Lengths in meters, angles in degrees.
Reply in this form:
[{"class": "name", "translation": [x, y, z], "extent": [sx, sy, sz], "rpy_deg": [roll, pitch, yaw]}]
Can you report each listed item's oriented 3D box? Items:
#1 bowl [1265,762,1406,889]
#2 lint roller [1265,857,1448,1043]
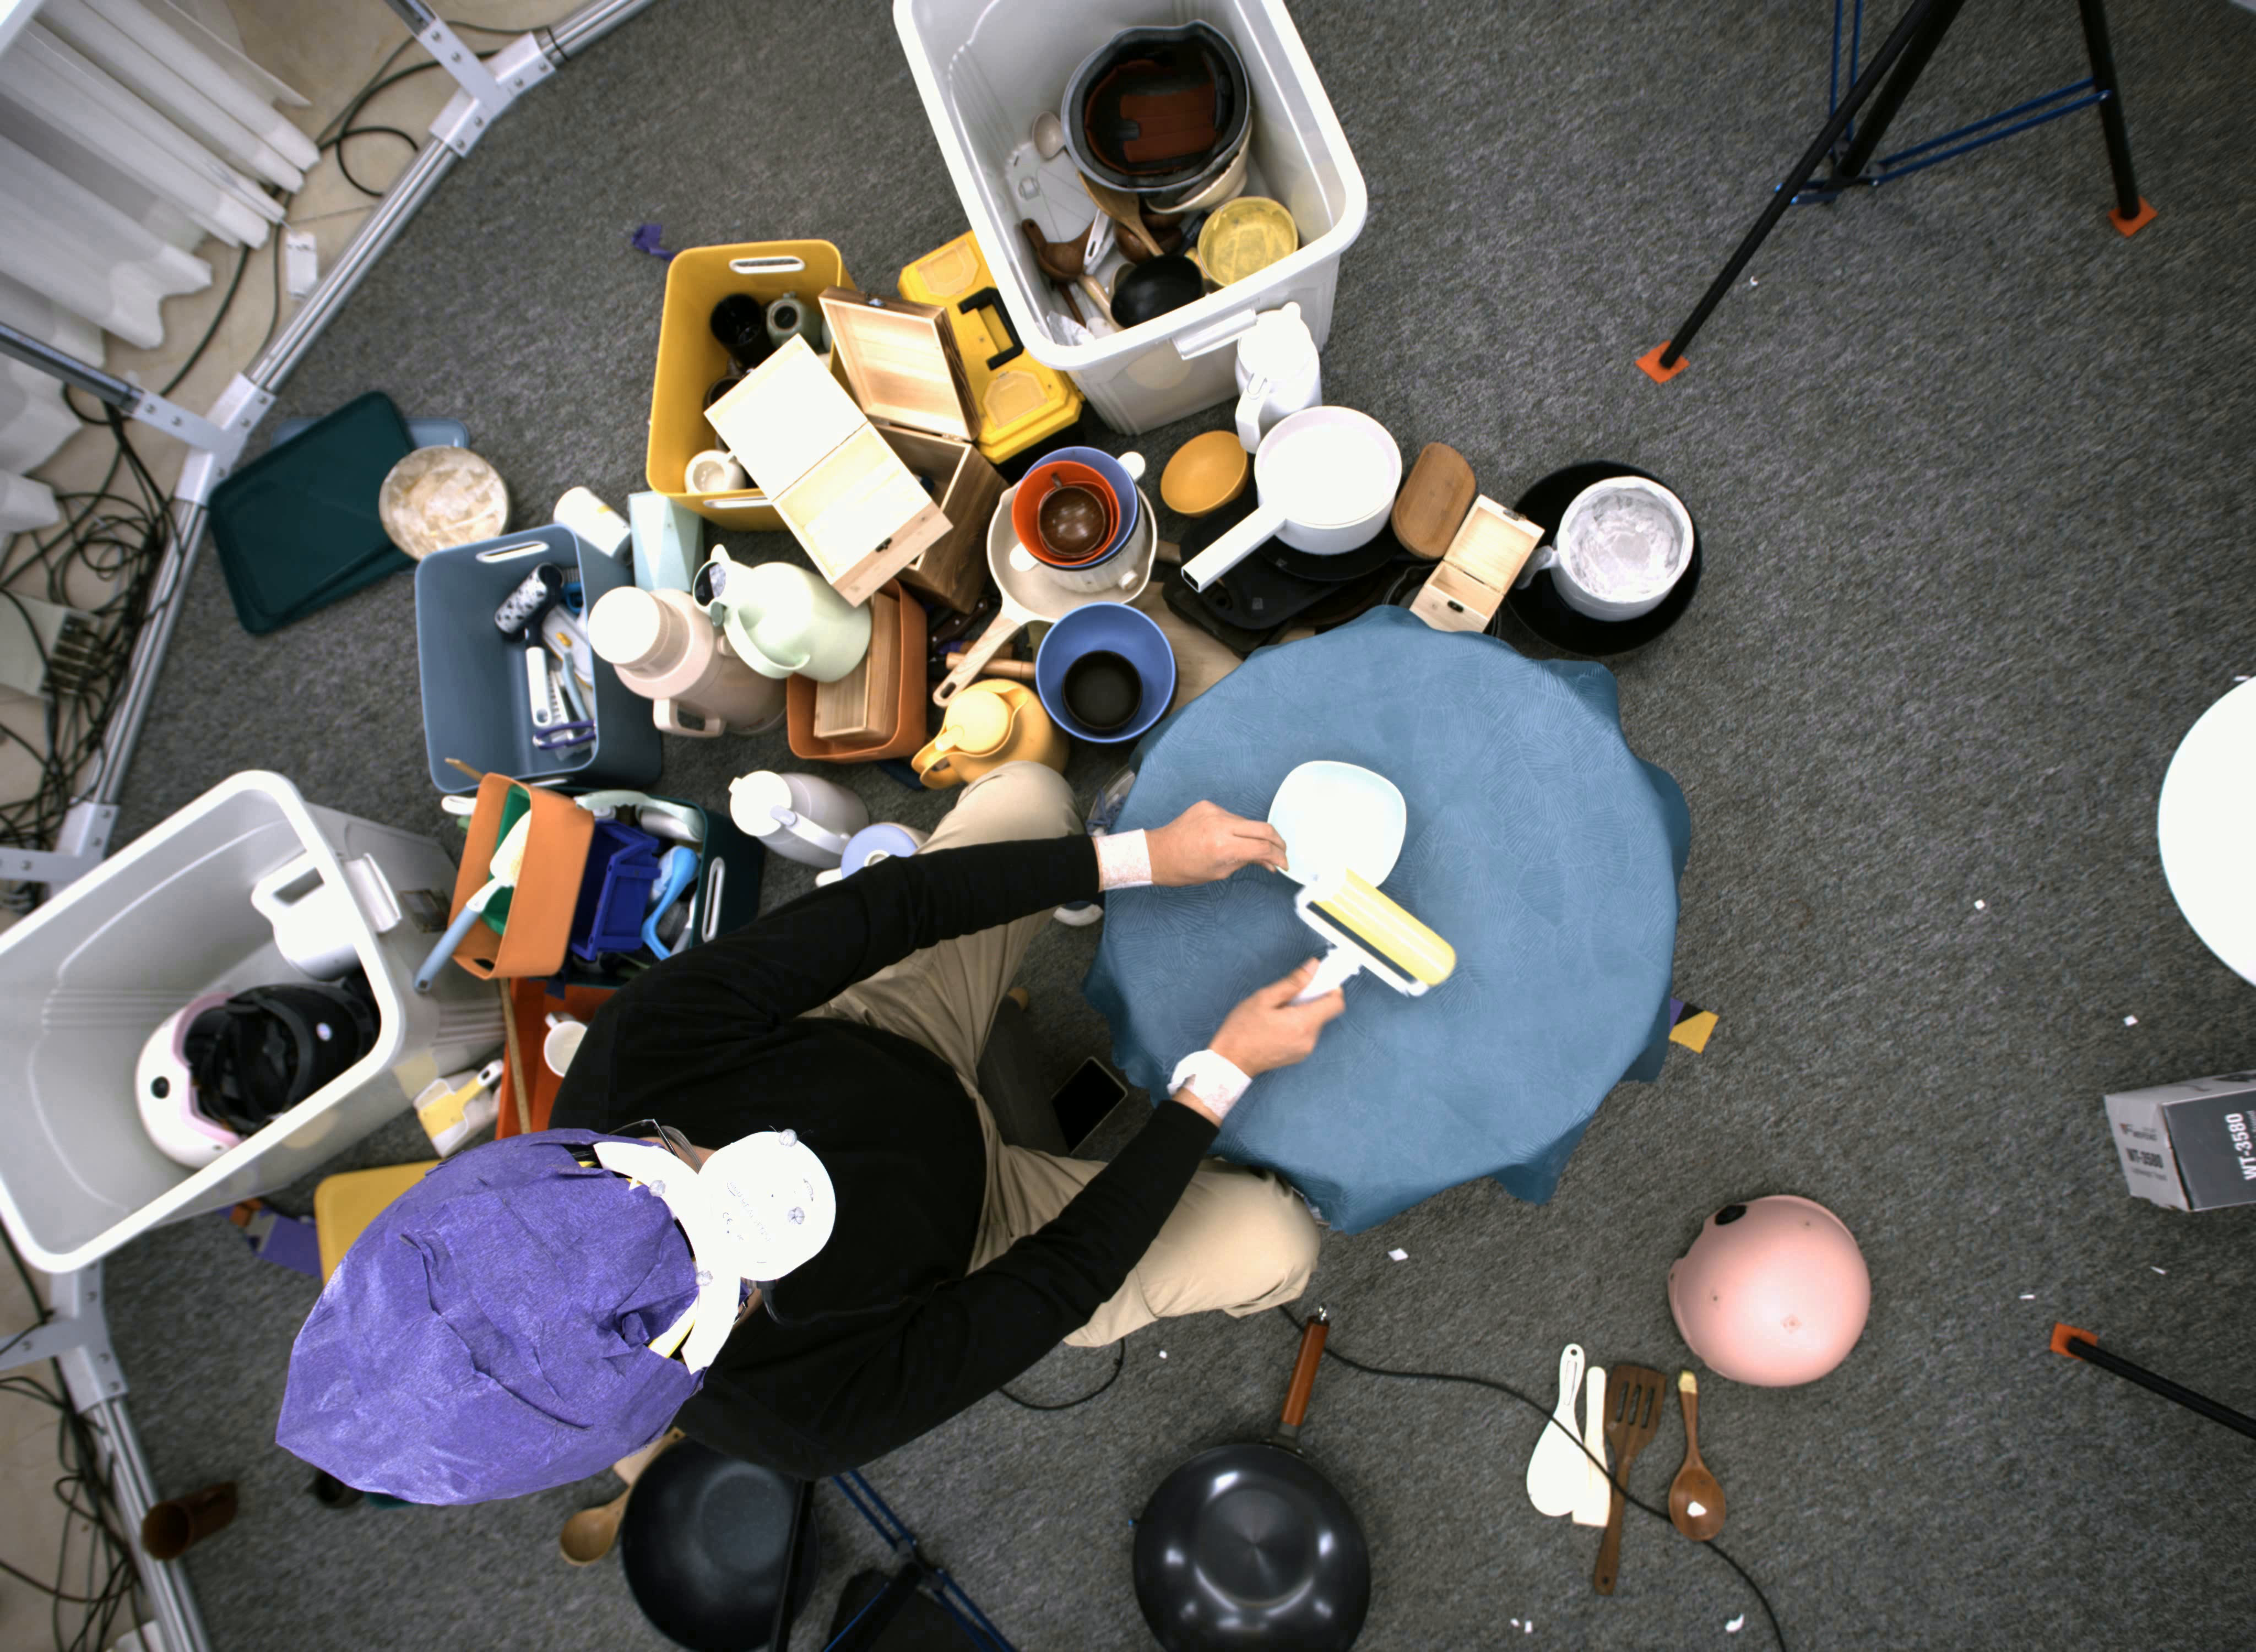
[{"class": "bowl", "translation": [0.215, 0.009, 1.437], "extent": [0.152, 0.059, 0.149], "rpy_deg": [-2, 73, 6]}, {"class": "lint roller", "translation": [0.203, 0.146, 1.382], "extent": [0.175, 0.050, 0.194], "rpy_deg": [30, 101, -21]}]
